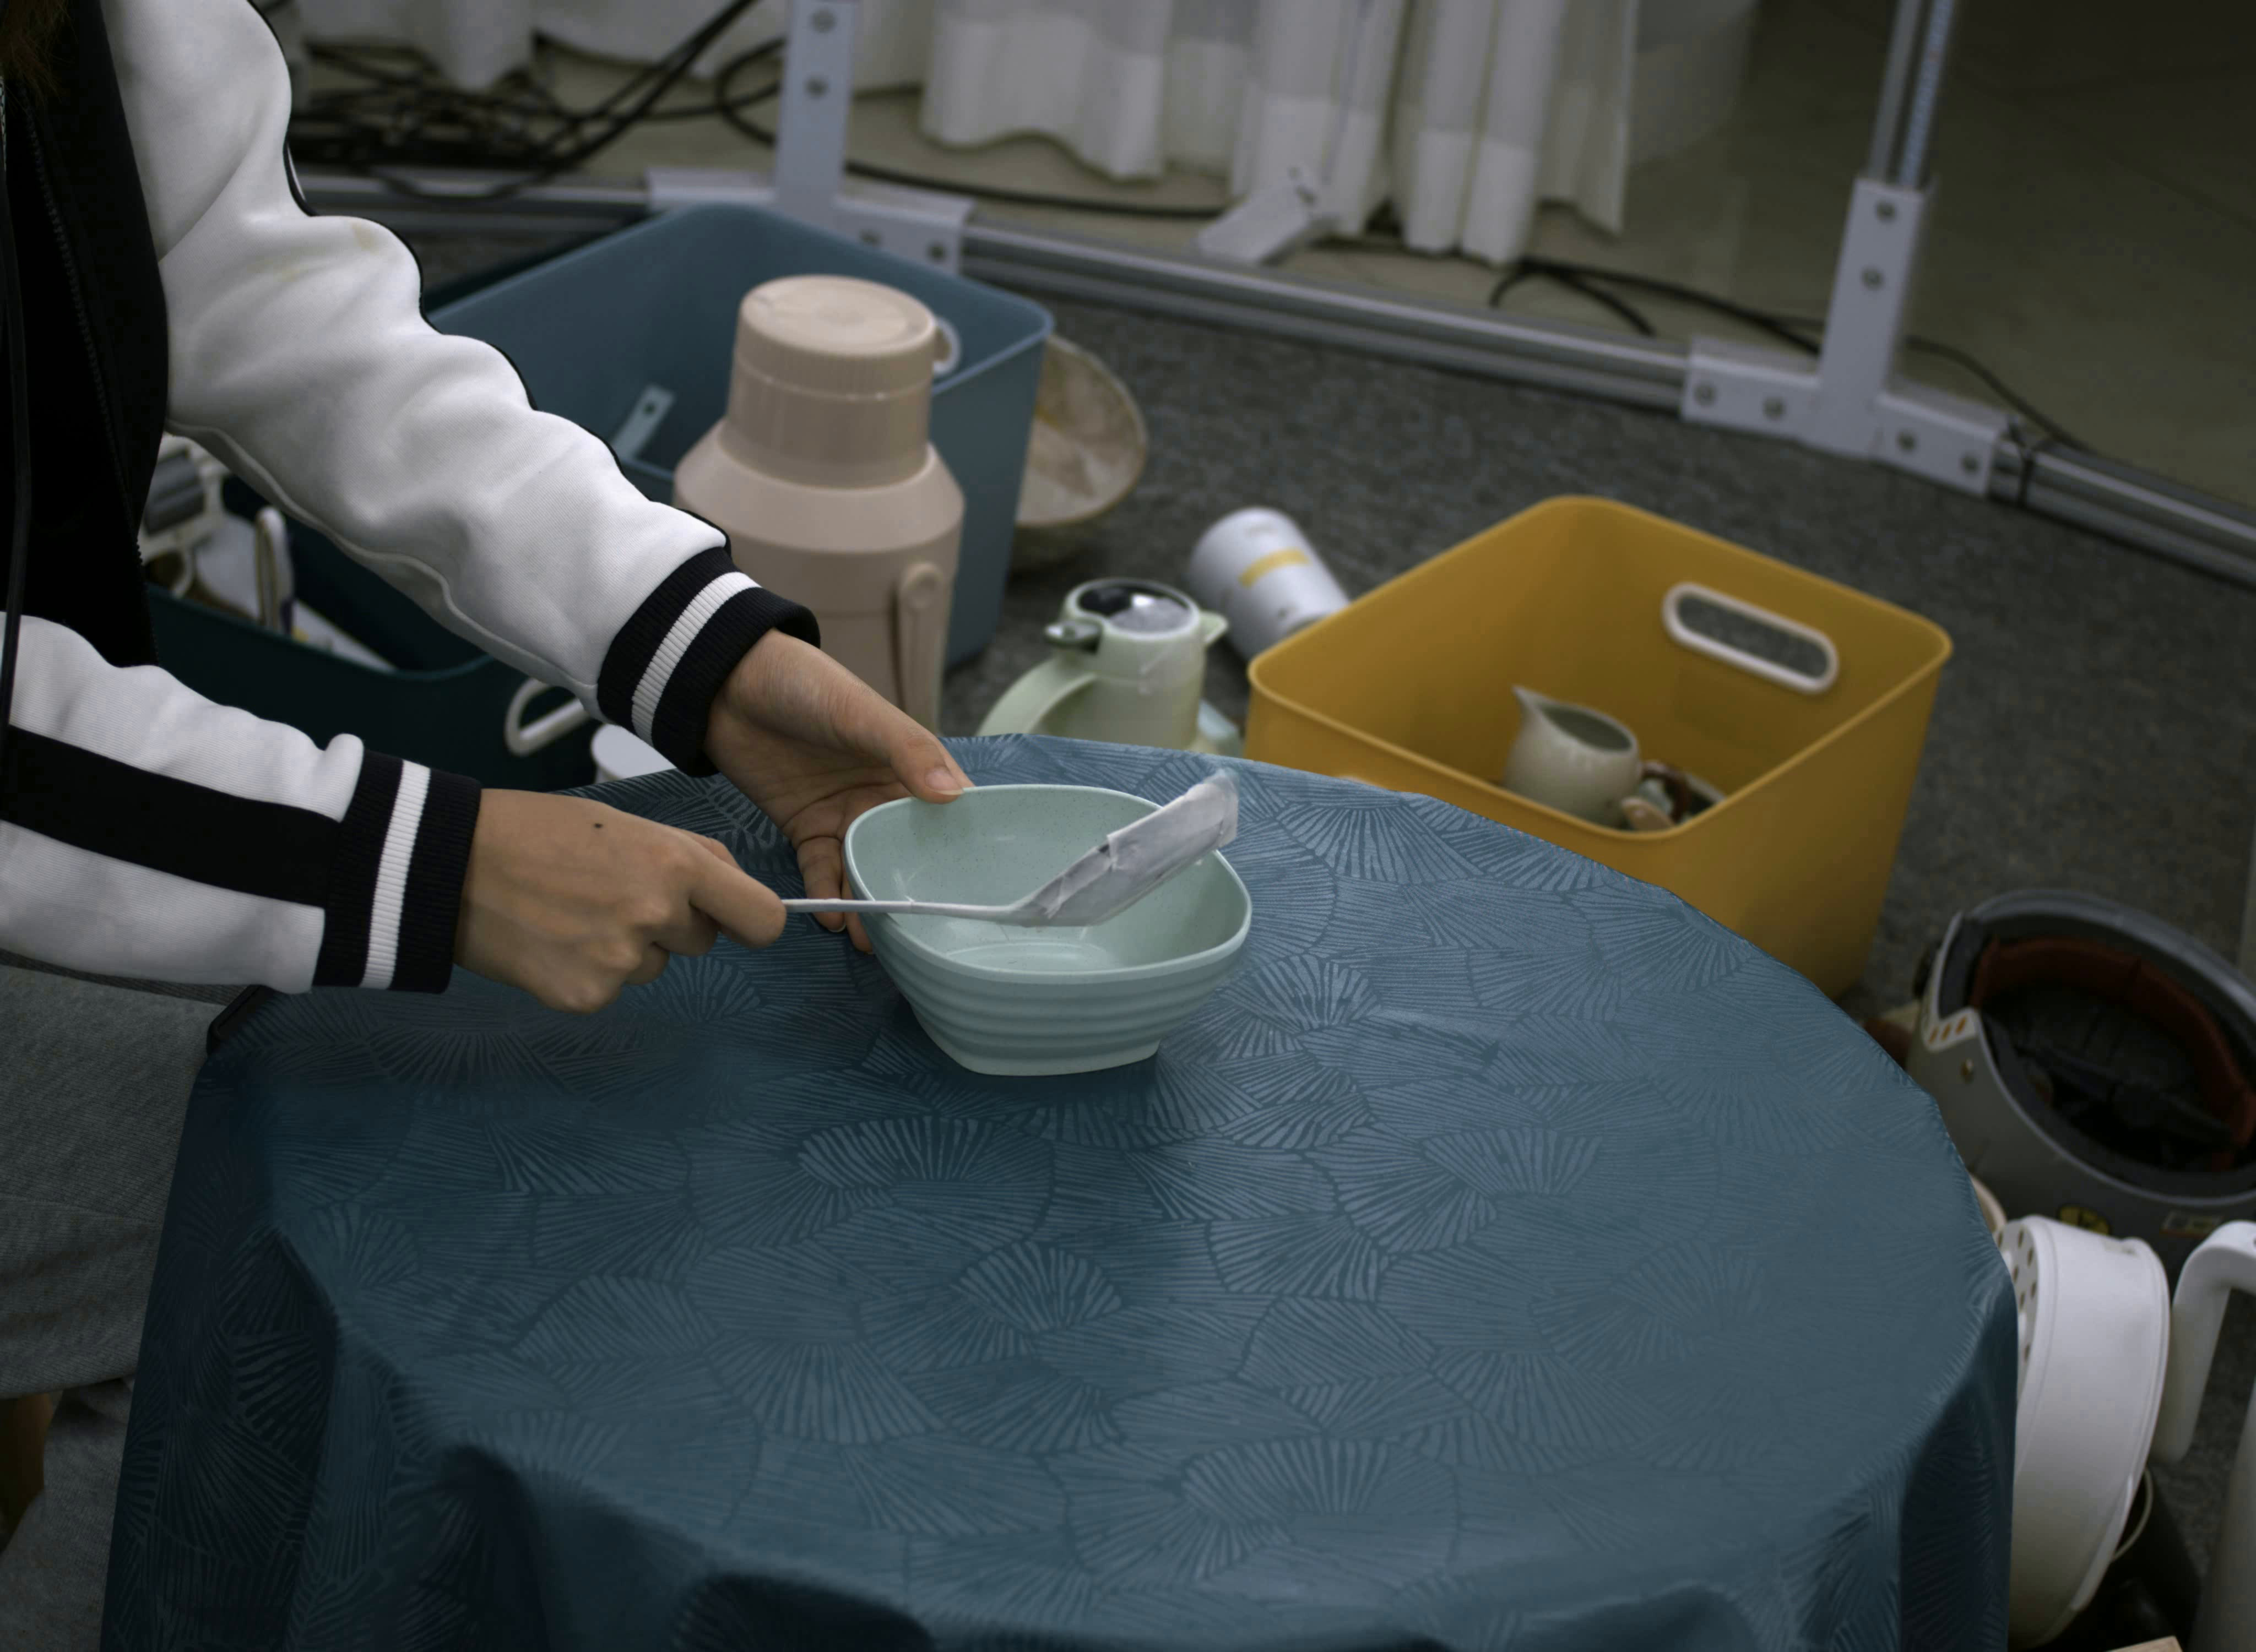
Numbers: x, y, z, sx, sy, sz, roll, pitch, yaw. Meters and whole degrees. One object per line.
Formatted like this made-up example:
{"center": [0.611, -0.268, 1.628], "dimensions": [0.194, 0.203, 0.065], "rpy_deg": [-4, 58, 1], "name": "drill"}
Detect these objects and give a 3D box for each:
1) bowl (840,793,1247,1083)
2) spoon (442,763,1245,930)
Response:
{"center": [-0.033, 0.045, 1.892], "dimensions": [0.151, 0.058, 0.152], "rpy_deg": [5, 26, -3], "name": "bowl"}
{"center": [-0.098, 0.005, 1.849], "dimensions": [0.277, 0.060, 0.100], "rpy_deg": [2, -15, 3], "name": "spoon"}
